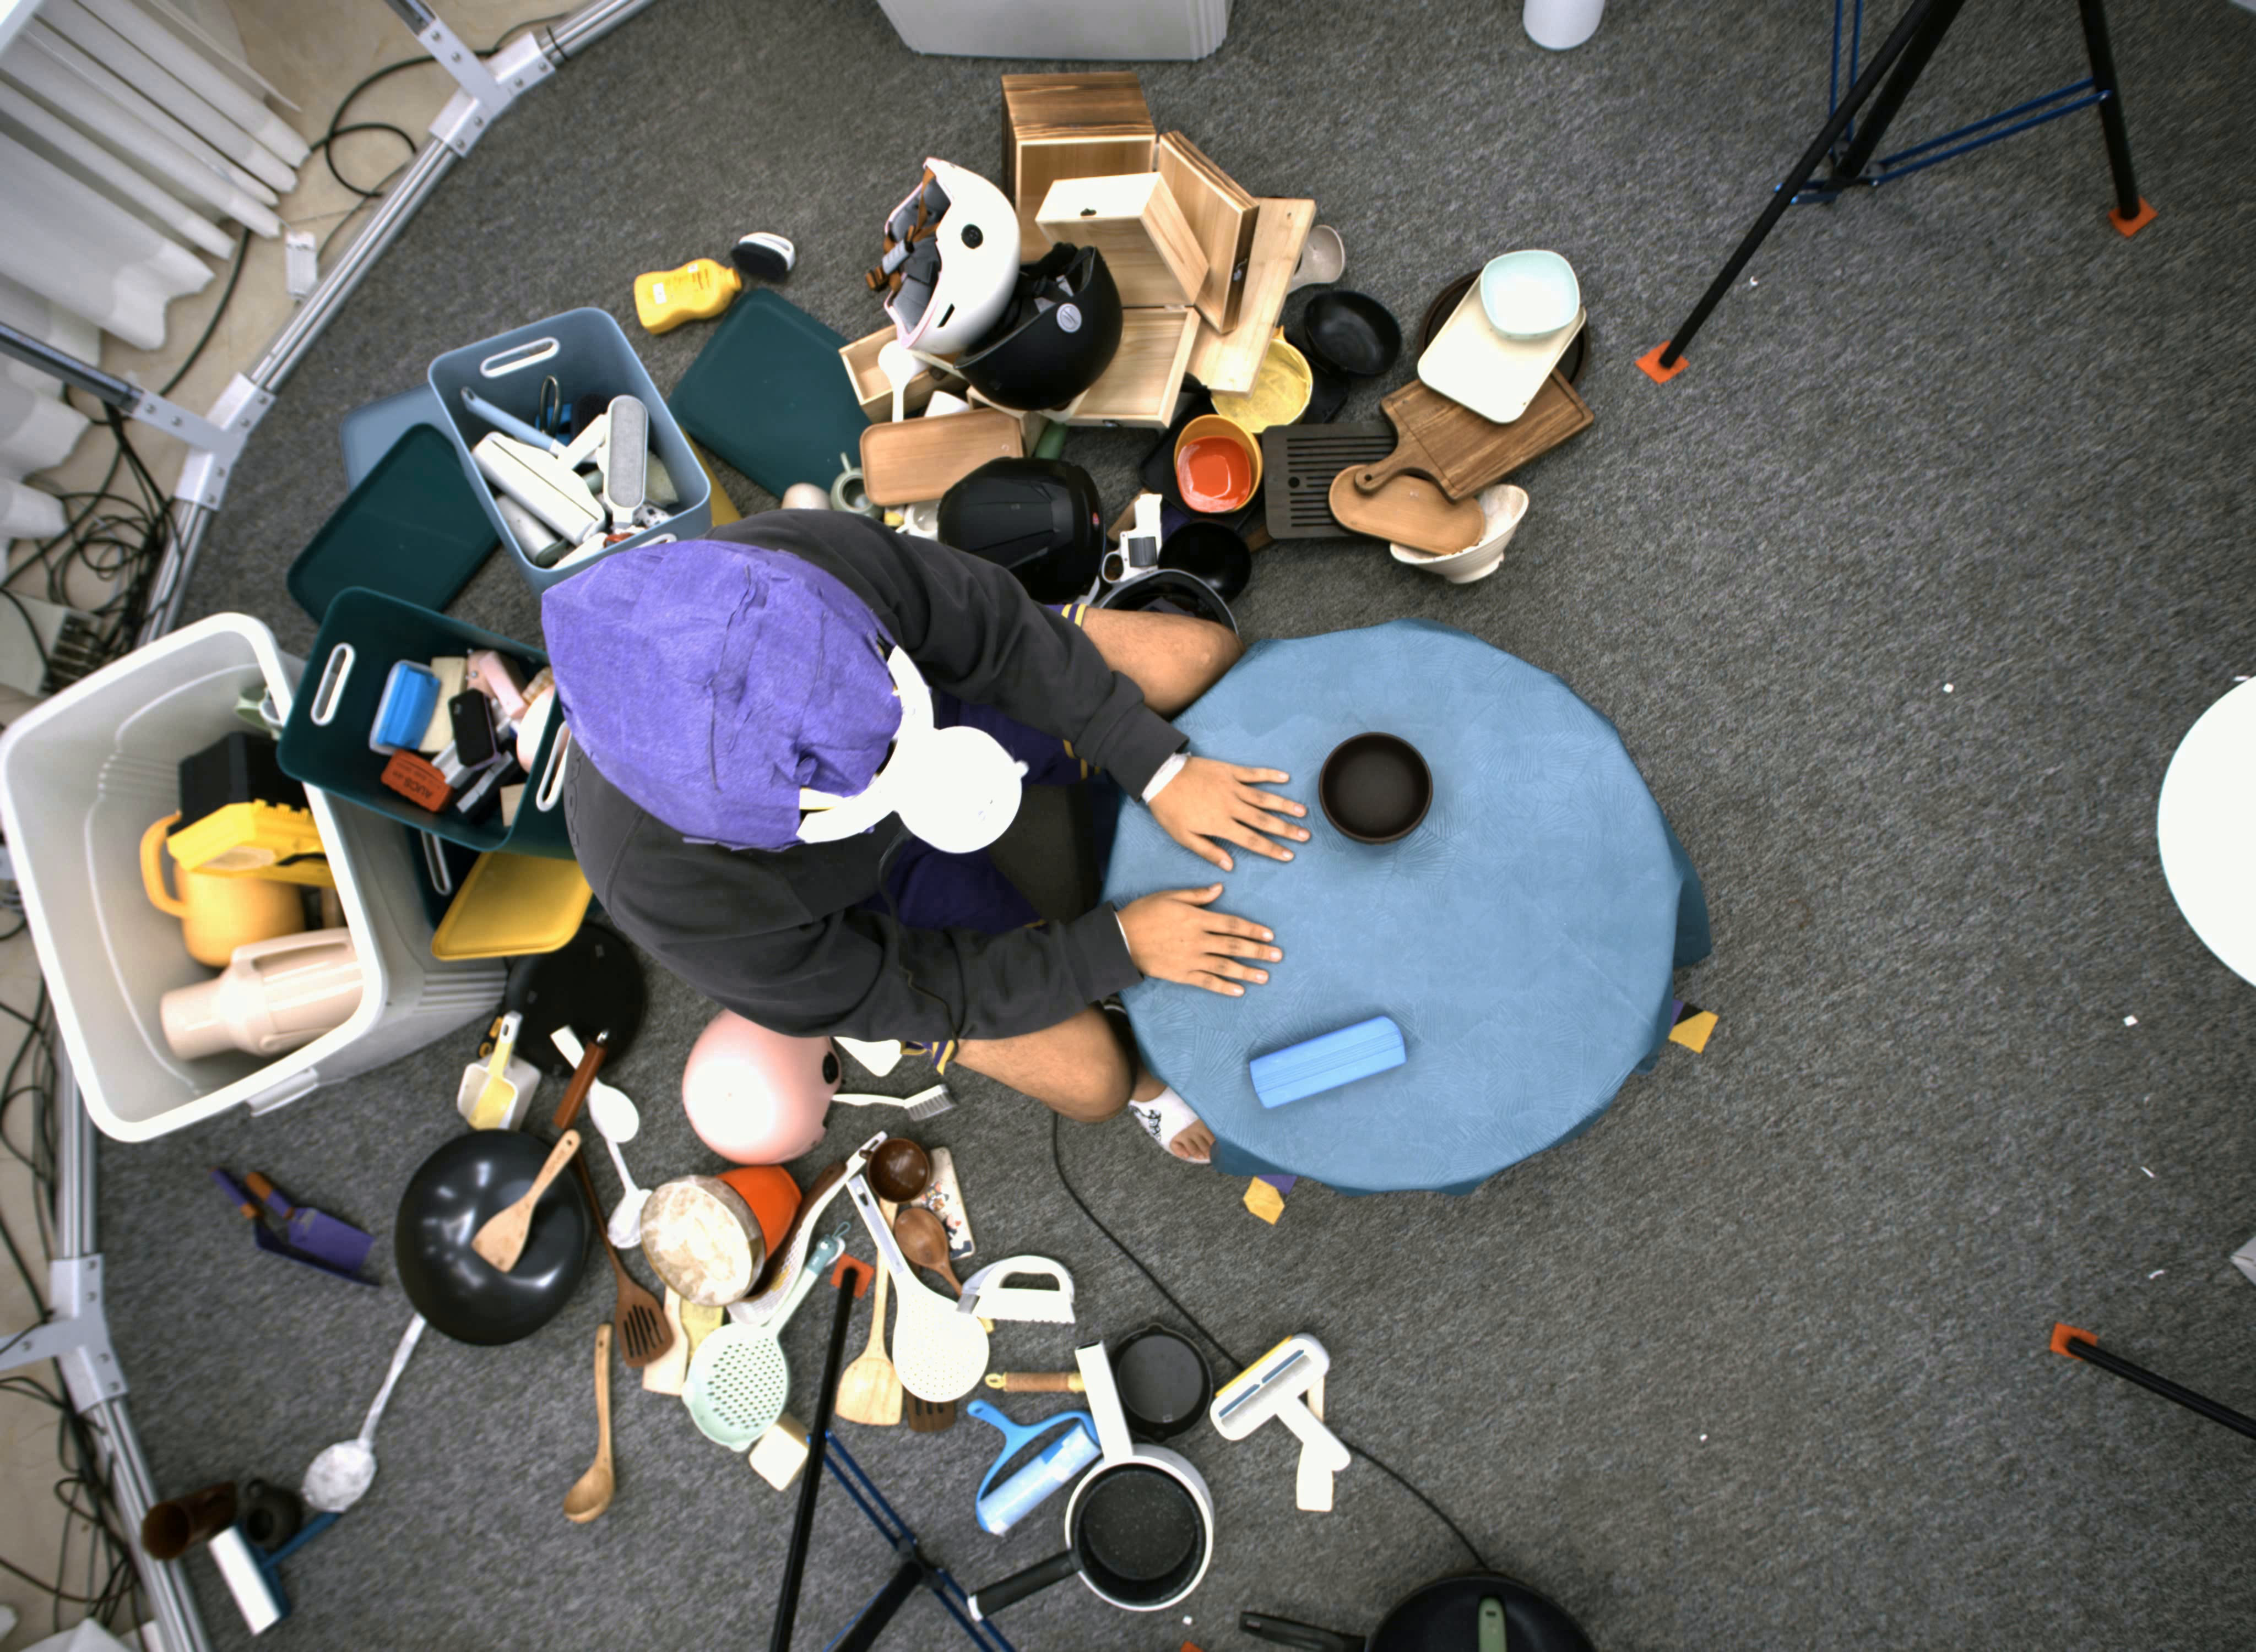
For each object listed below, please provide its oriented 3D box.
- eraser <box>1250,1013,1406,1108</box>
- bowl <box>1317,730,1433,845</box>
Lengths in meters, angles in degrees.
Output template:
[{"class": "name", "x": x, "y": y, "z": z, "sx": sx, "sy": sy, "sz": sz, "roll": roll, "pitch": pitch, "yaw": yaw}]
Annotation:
[{"class": "eraser", "x": 0.207, "y": 0.243, "z": 1.438, "sx": 0.163, "sy": 0.047, "sz": 0.053, "roll": -21, "pitch": 85, "yaw": 8}, {"class": "bowl", "x": 0.256, "y": -0.039, "z": 1.430, "sx": 0.118, "sy": 0.070, "sz": 0.117, "roll": -1, "pitch": 87, "yaw": 11}]
